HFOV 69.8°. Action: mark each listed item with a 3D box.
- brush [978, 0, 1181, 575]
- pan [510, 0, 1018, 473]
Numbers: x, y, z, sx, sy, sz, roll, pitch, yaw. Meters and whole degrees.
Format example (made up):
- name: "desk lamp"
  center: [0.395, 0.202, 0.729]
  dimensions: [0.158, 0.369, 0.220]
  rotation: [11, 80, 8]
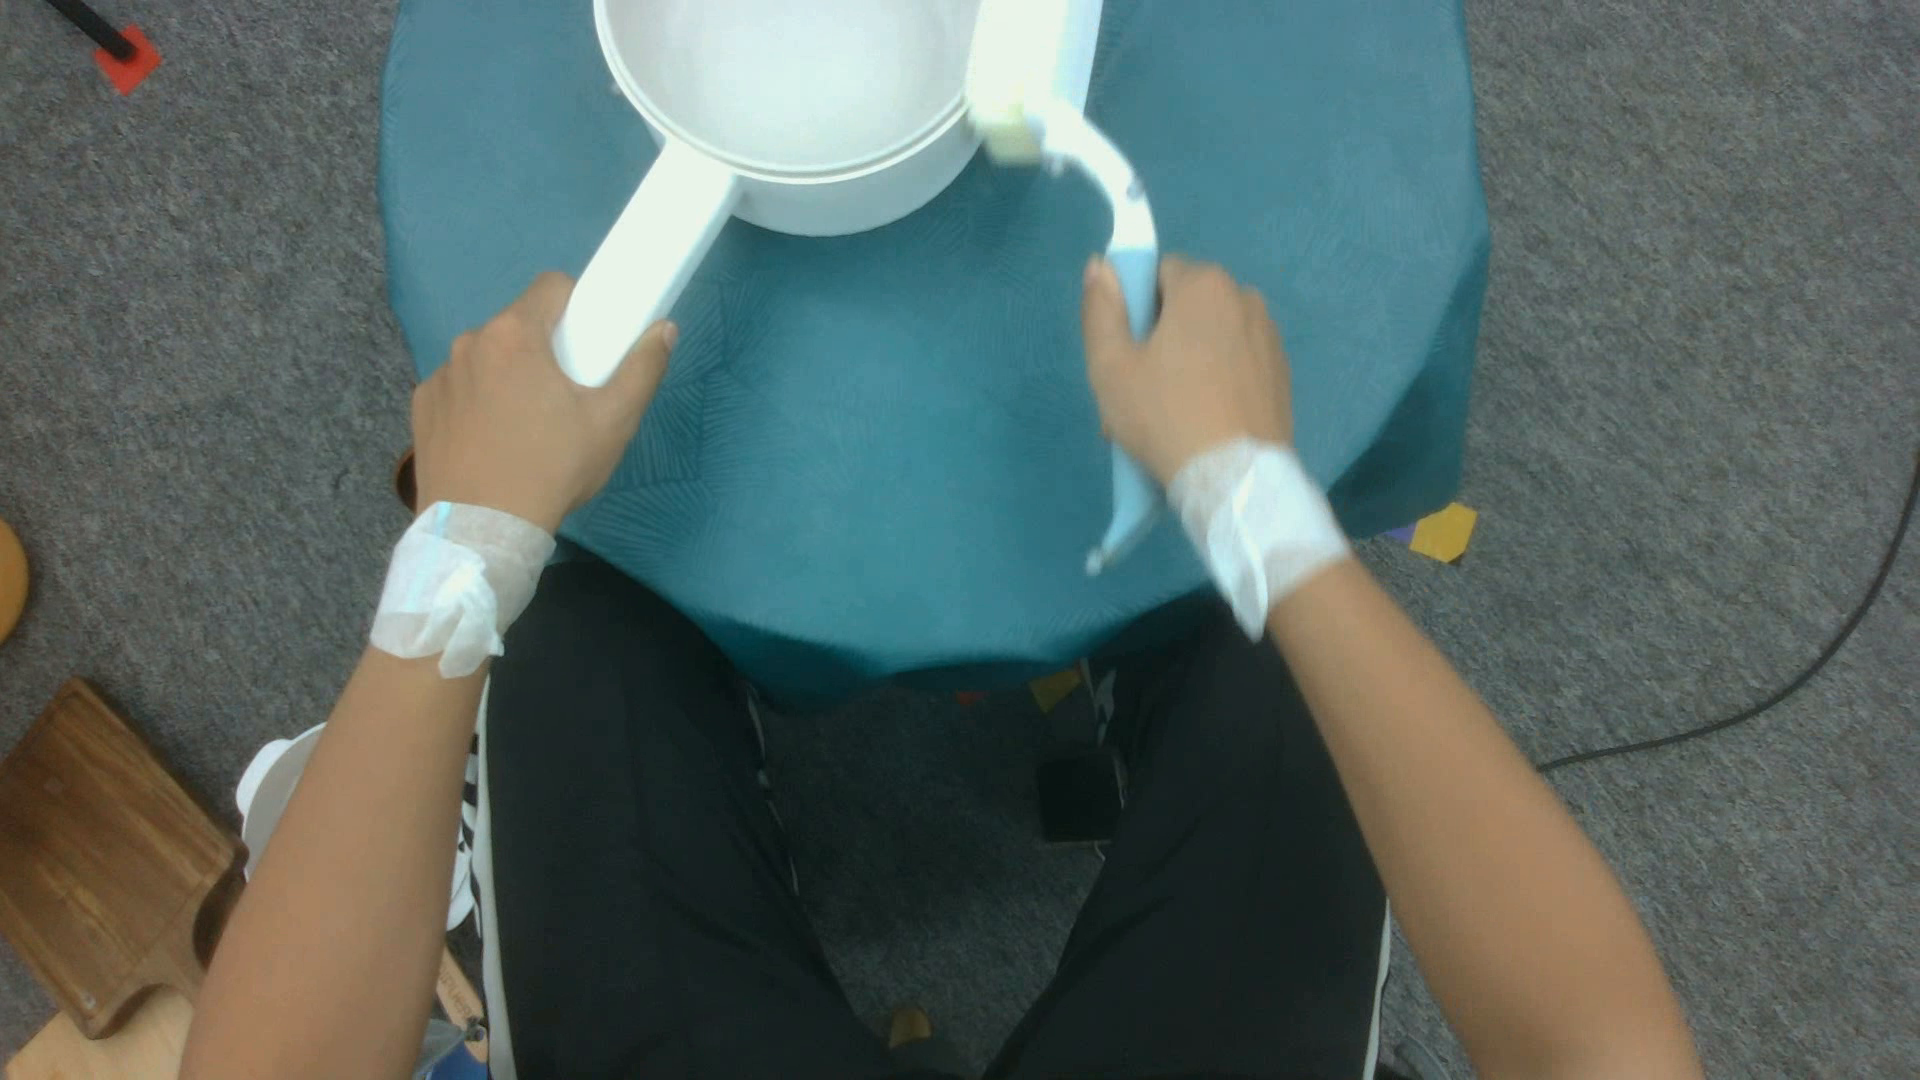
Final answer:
- name: "brush"
  center: [0.045, -0.142, 0.659]
  dimensions: [0.083, 0.084, 0.326]
  rotation: [9, 74, -35]
- name: "pan"
  center: [-0.107, -0.188, 0.712]
  dimensions: [0.201, 0.102, 0.355]
  rotation: [28, 81, 5]
